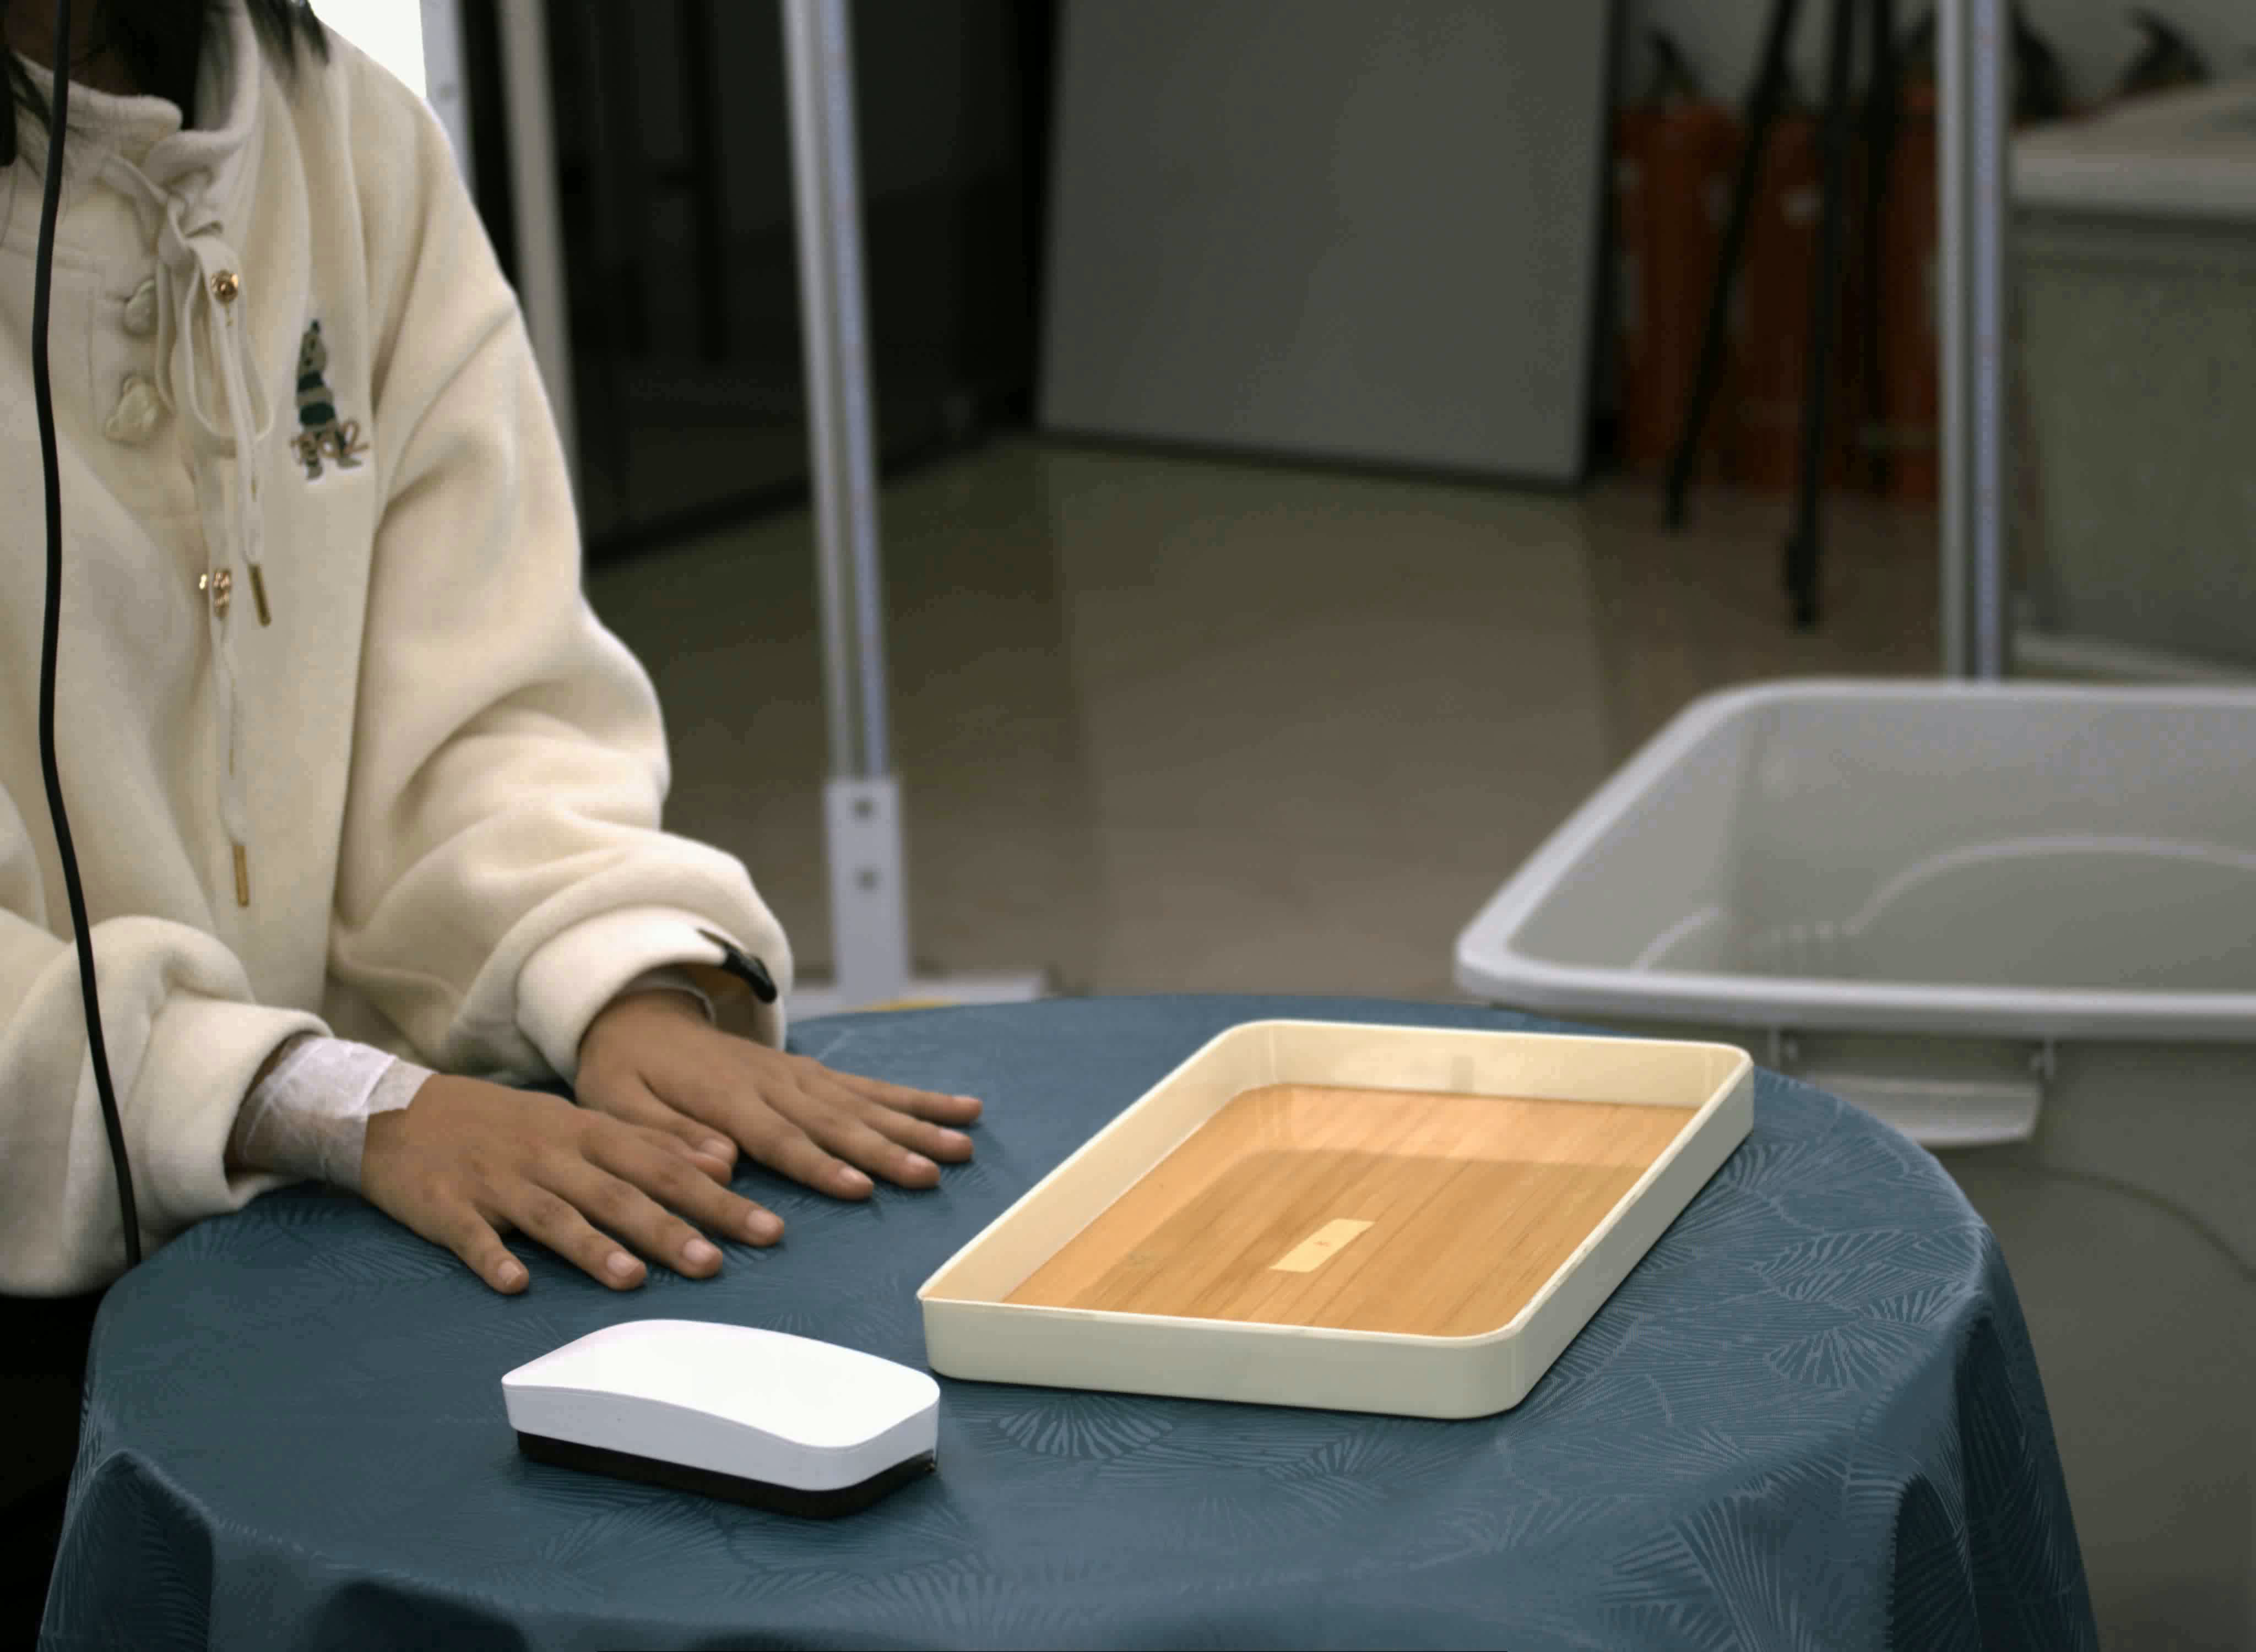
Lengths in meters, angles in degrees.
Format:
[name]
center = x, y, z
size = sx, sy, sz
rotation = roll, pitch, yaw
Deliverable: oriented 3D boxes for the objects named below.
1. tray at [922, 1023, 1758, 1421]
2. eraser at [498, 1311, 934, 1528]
[tray]
center = 0.074, 0.120, 1.697
size = 0.191, 0.028, 0.297
rotation = 2, 15, 22
[eraser]
center = -0.117, 0.168, 1.550
size = 0.132, 0.035, 0.062
rotation = 7, 19, 37
